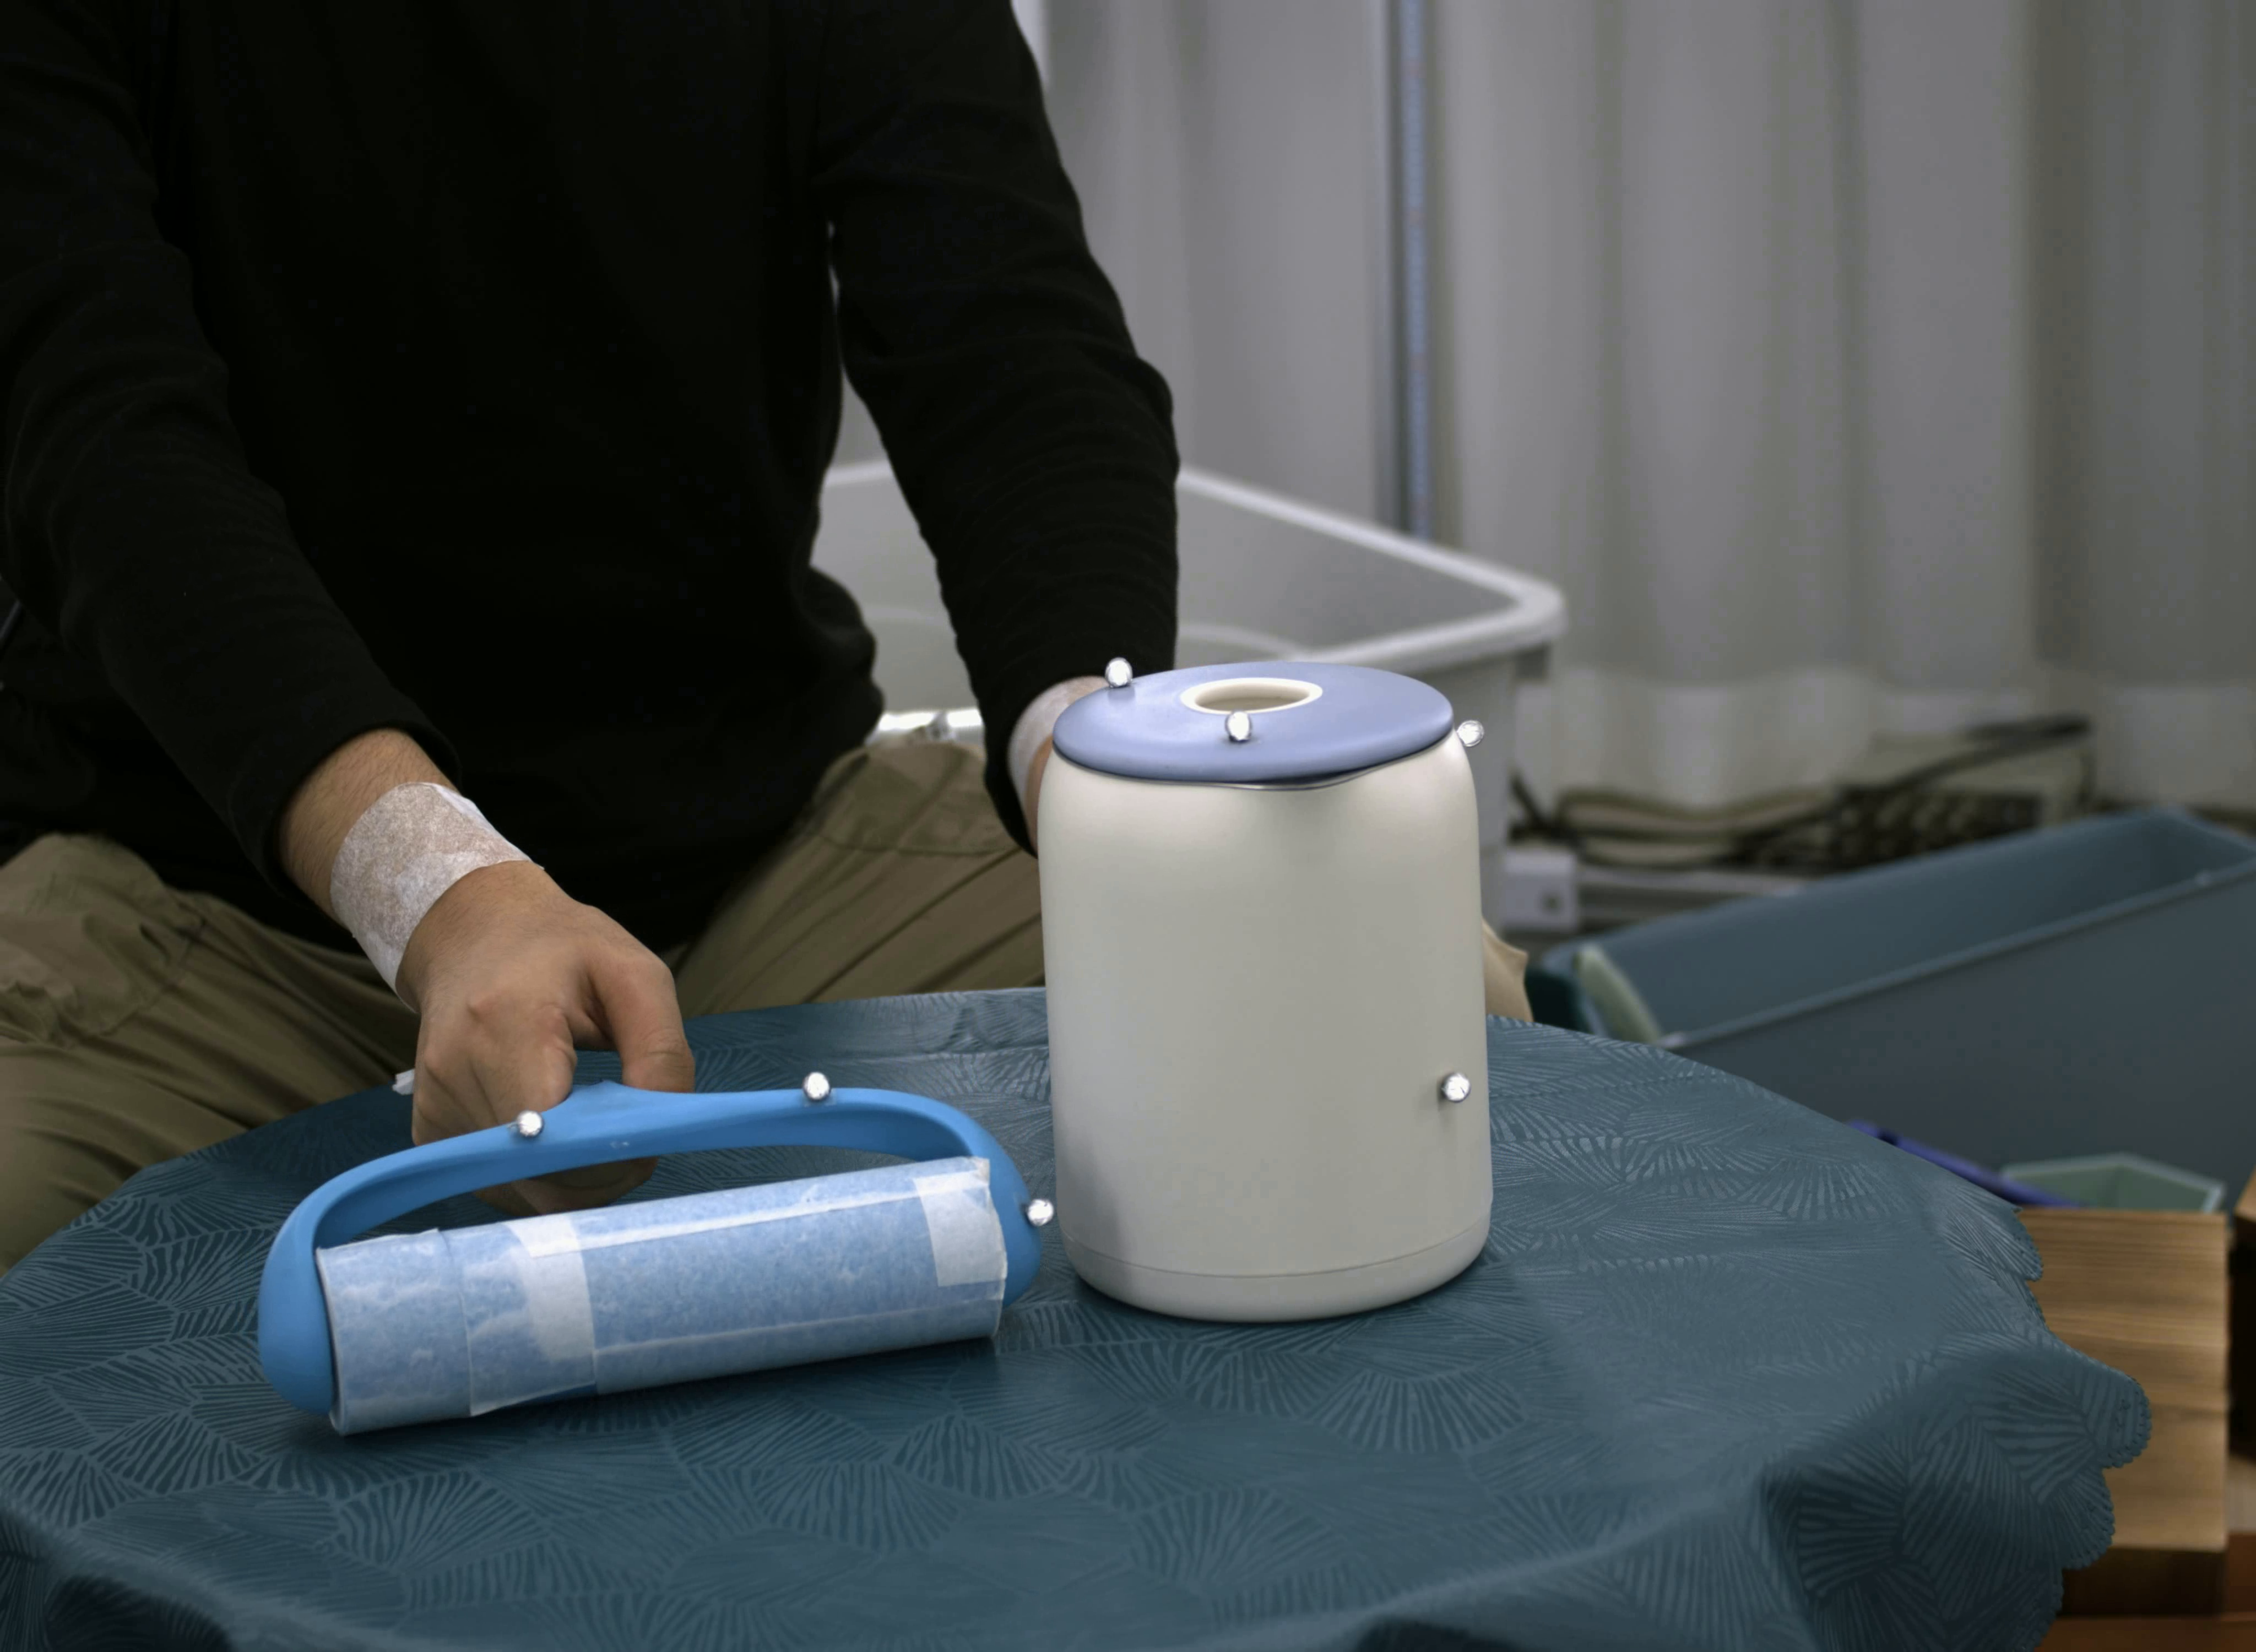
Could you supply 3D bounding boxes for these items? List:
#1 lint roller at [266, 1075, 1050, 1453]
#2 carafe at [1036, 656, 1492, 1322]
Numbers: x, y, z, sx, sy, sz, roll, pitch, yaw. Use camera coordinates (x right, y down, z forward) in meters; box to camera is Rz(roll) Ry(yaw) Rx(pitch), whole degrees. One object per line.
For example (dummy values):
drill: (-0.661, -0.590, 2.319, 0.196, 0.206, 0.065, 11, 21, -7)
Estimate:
lint roller: (-0.152, 0.109, 1.617, 0.228, 0.067, 0.182, -11, 29, -16)
carafe: (0.034, 0.042, 1.650, 0.131, 0.182, 0.192, -6, 12, -13)
